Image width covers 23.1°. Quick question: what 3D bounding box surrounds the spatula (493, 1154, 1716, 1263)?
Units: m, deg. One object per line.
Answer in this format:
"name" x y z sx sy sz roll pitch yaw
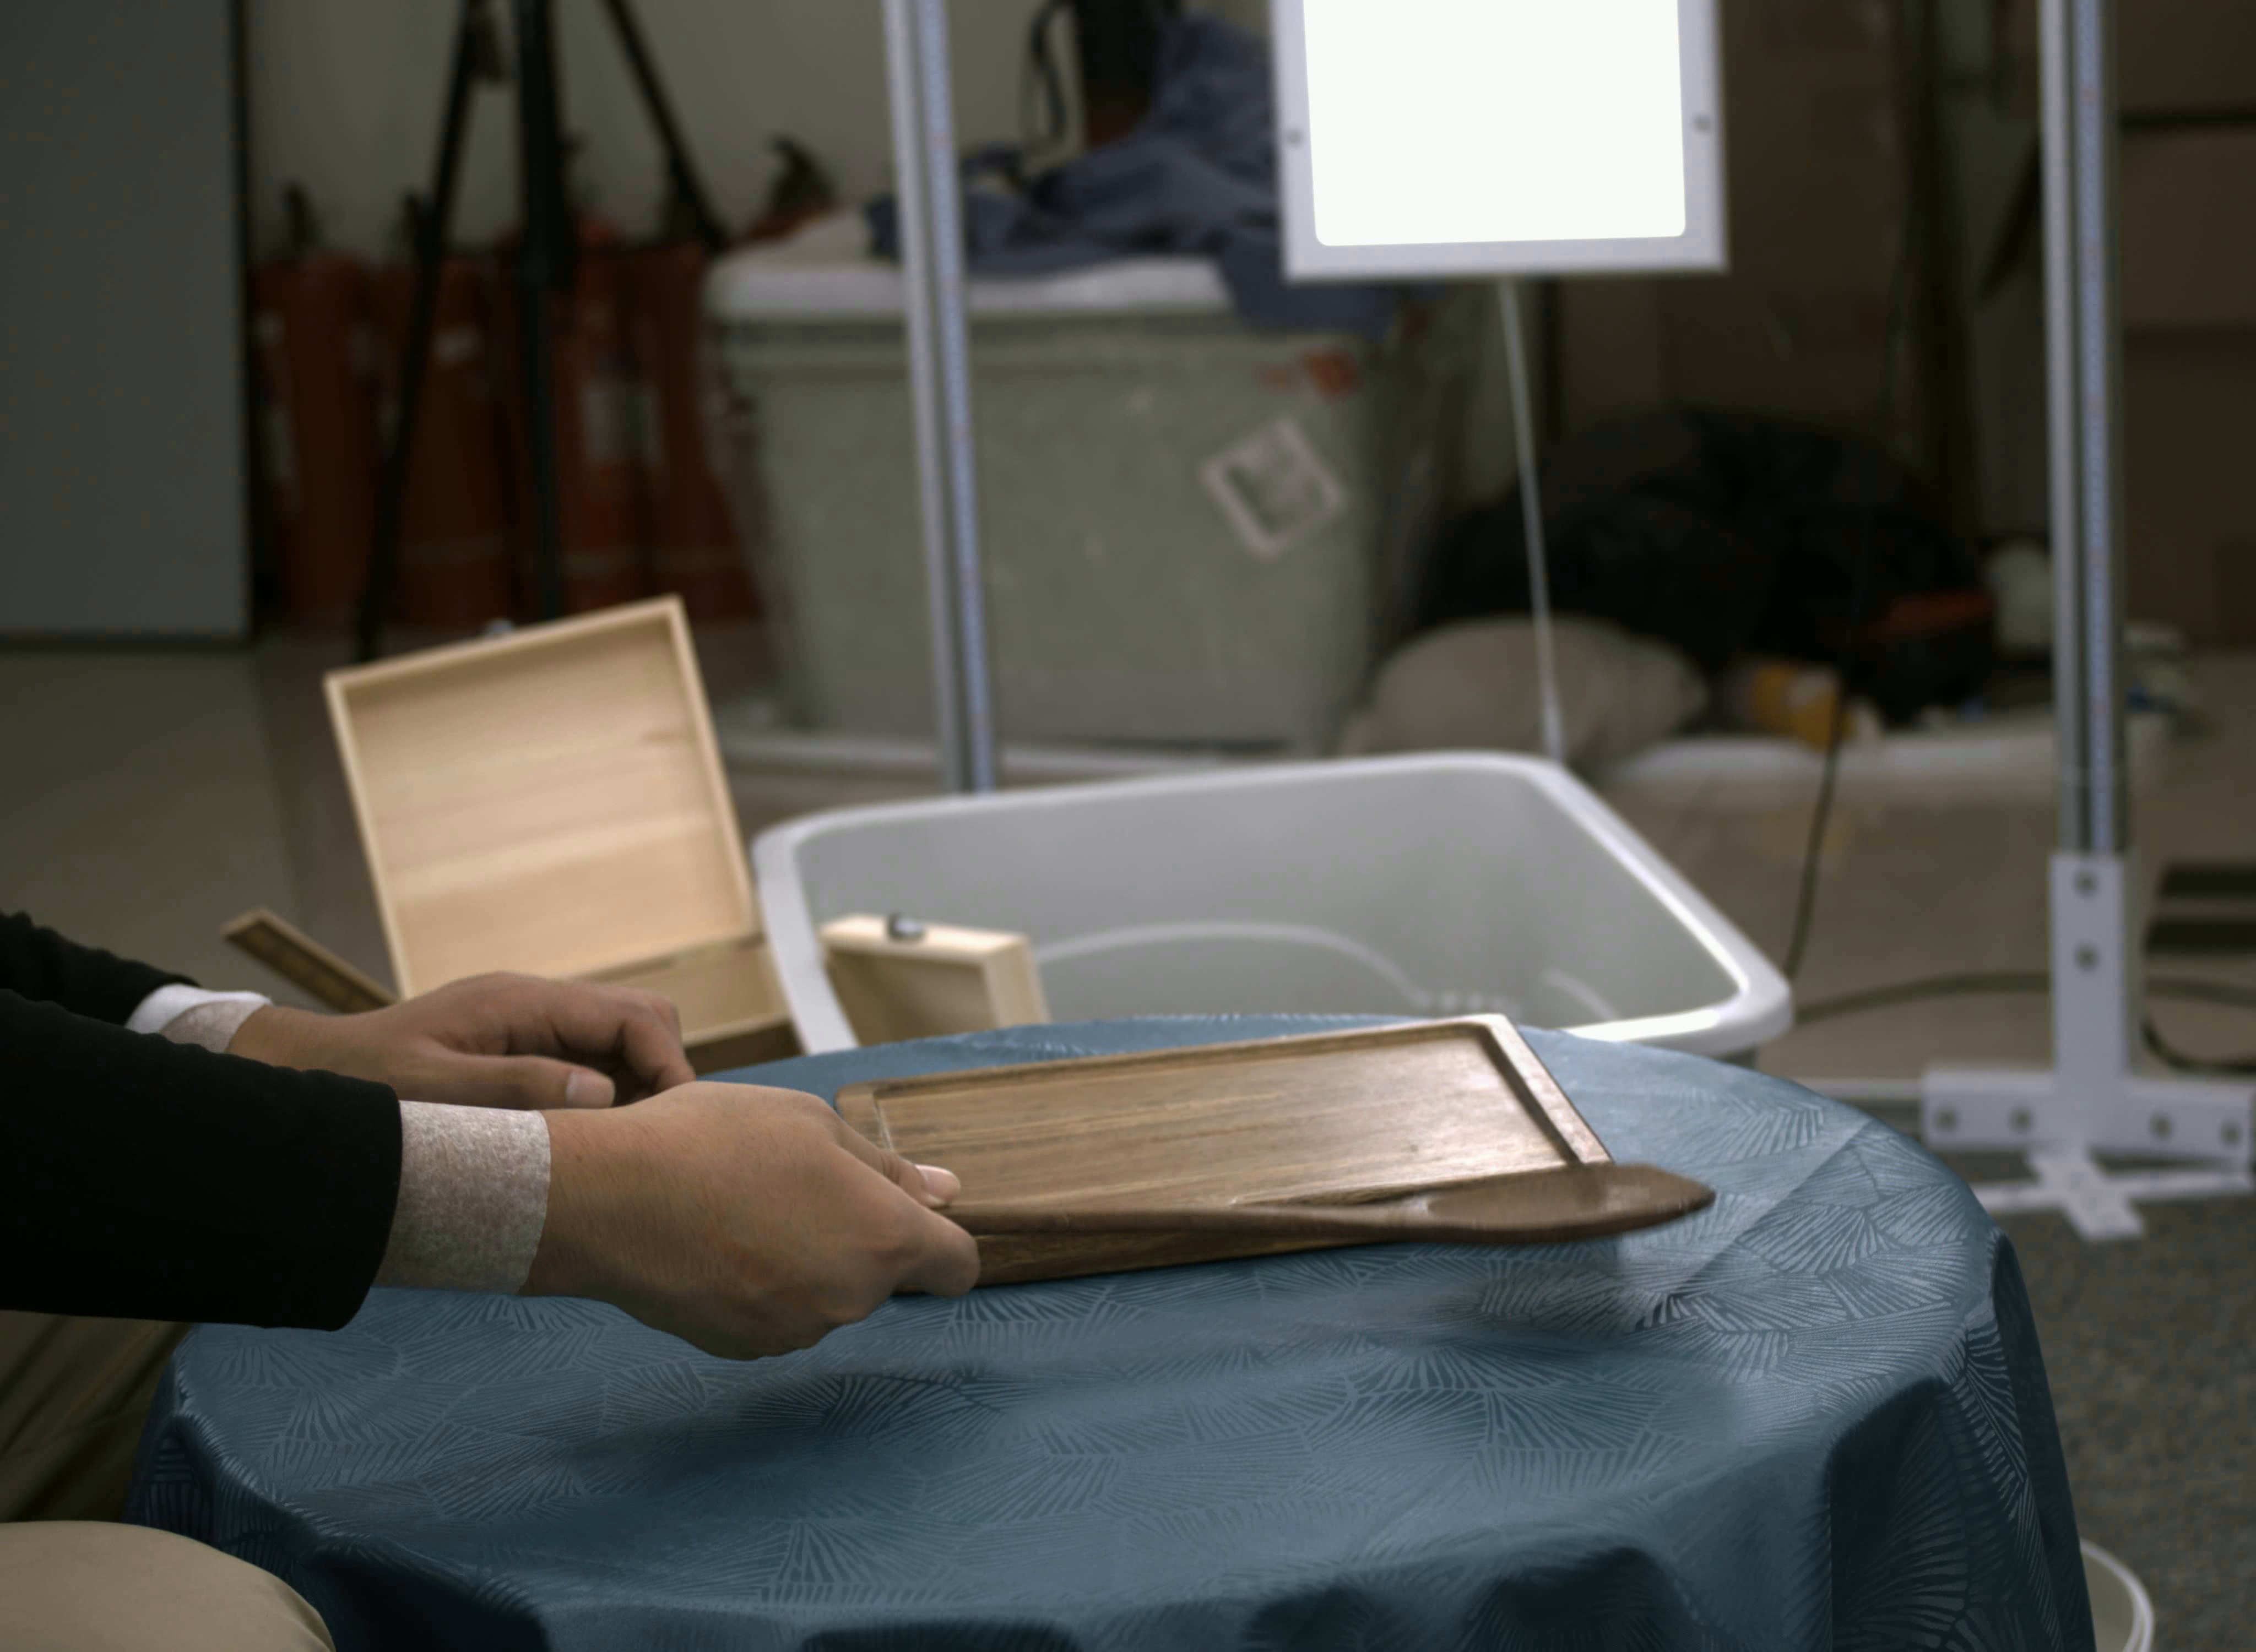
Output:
"spatula" -0.006 0.121 1.730 0.383 0.016 0.096 -2 4 -4

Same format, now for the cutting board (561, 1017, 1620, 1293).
"cutting board" -0.021 0.116 1.904 0.350 0.023 0.201 -6 13 -4
